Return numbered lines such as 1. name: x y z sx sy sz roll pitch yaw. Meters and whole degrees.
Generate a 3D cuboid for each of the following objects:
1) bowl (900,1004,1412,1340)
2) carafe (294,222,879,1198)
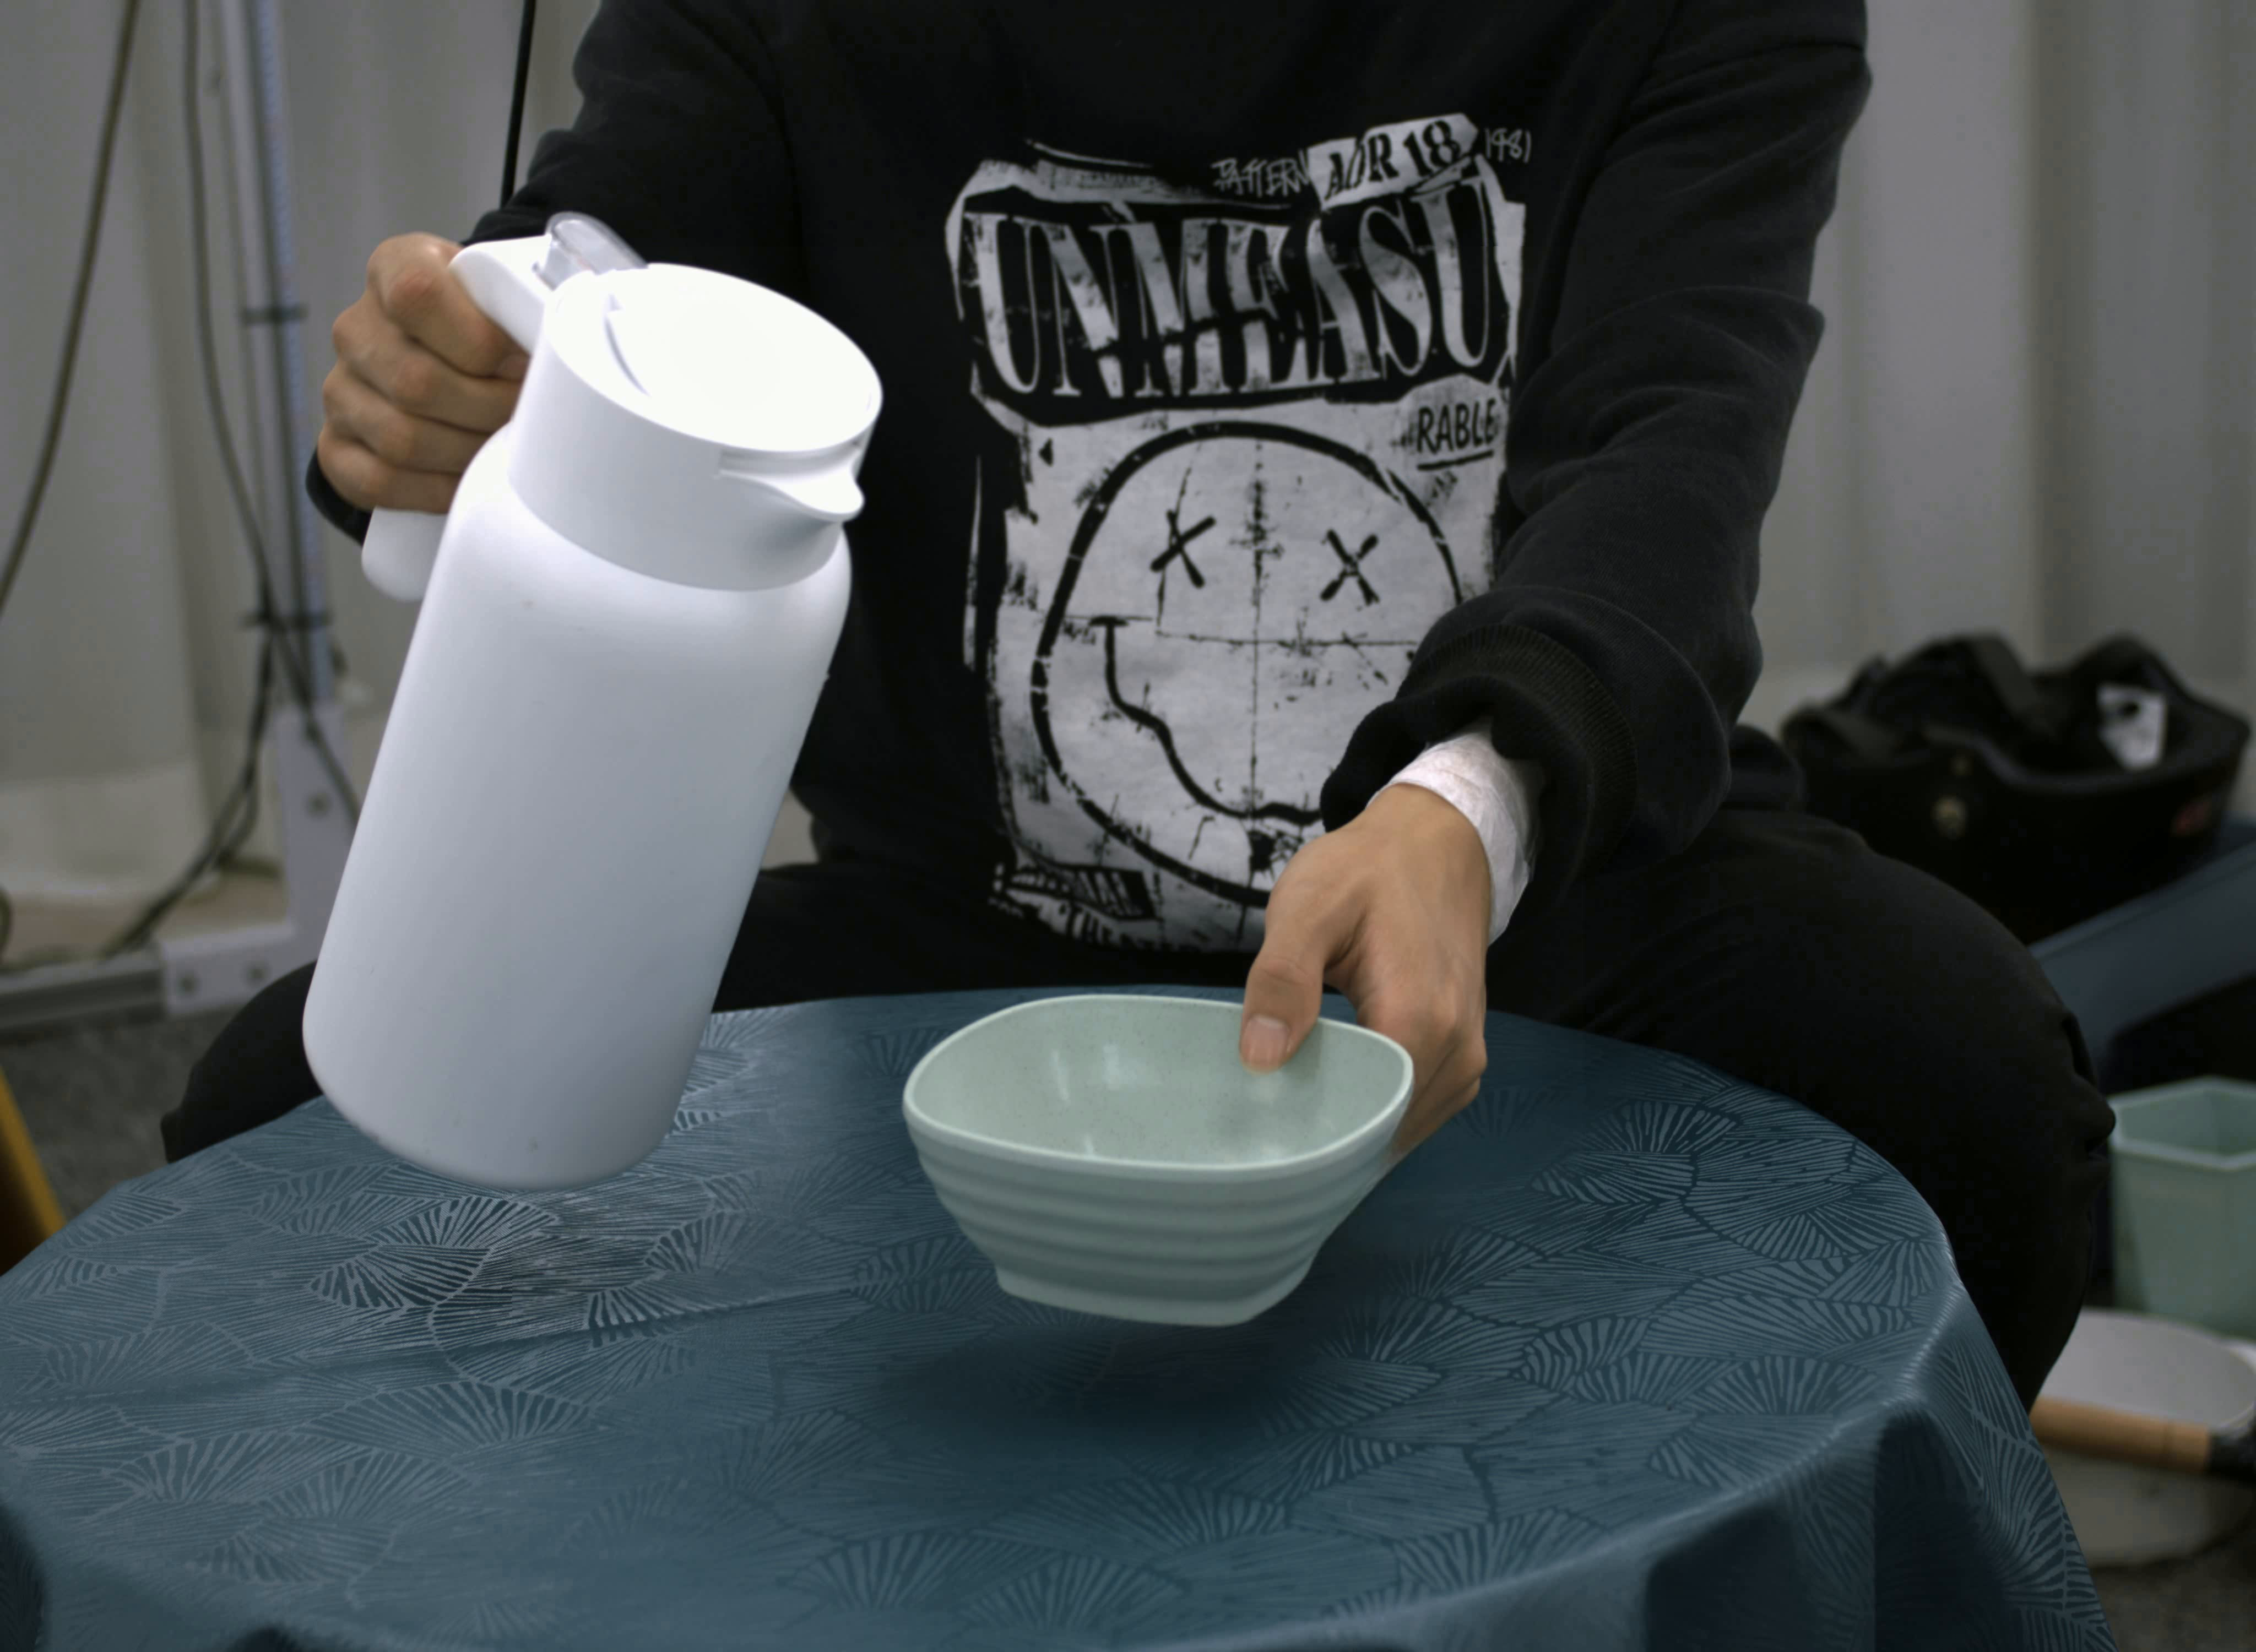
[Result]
1. bowl: 0.008 0.101 1.546 0.151 0.058 0.152 1 17 -1
2. carafe: -0.169 -0.036 1.607 0.123 0.266 0.175 -14 44 -42
